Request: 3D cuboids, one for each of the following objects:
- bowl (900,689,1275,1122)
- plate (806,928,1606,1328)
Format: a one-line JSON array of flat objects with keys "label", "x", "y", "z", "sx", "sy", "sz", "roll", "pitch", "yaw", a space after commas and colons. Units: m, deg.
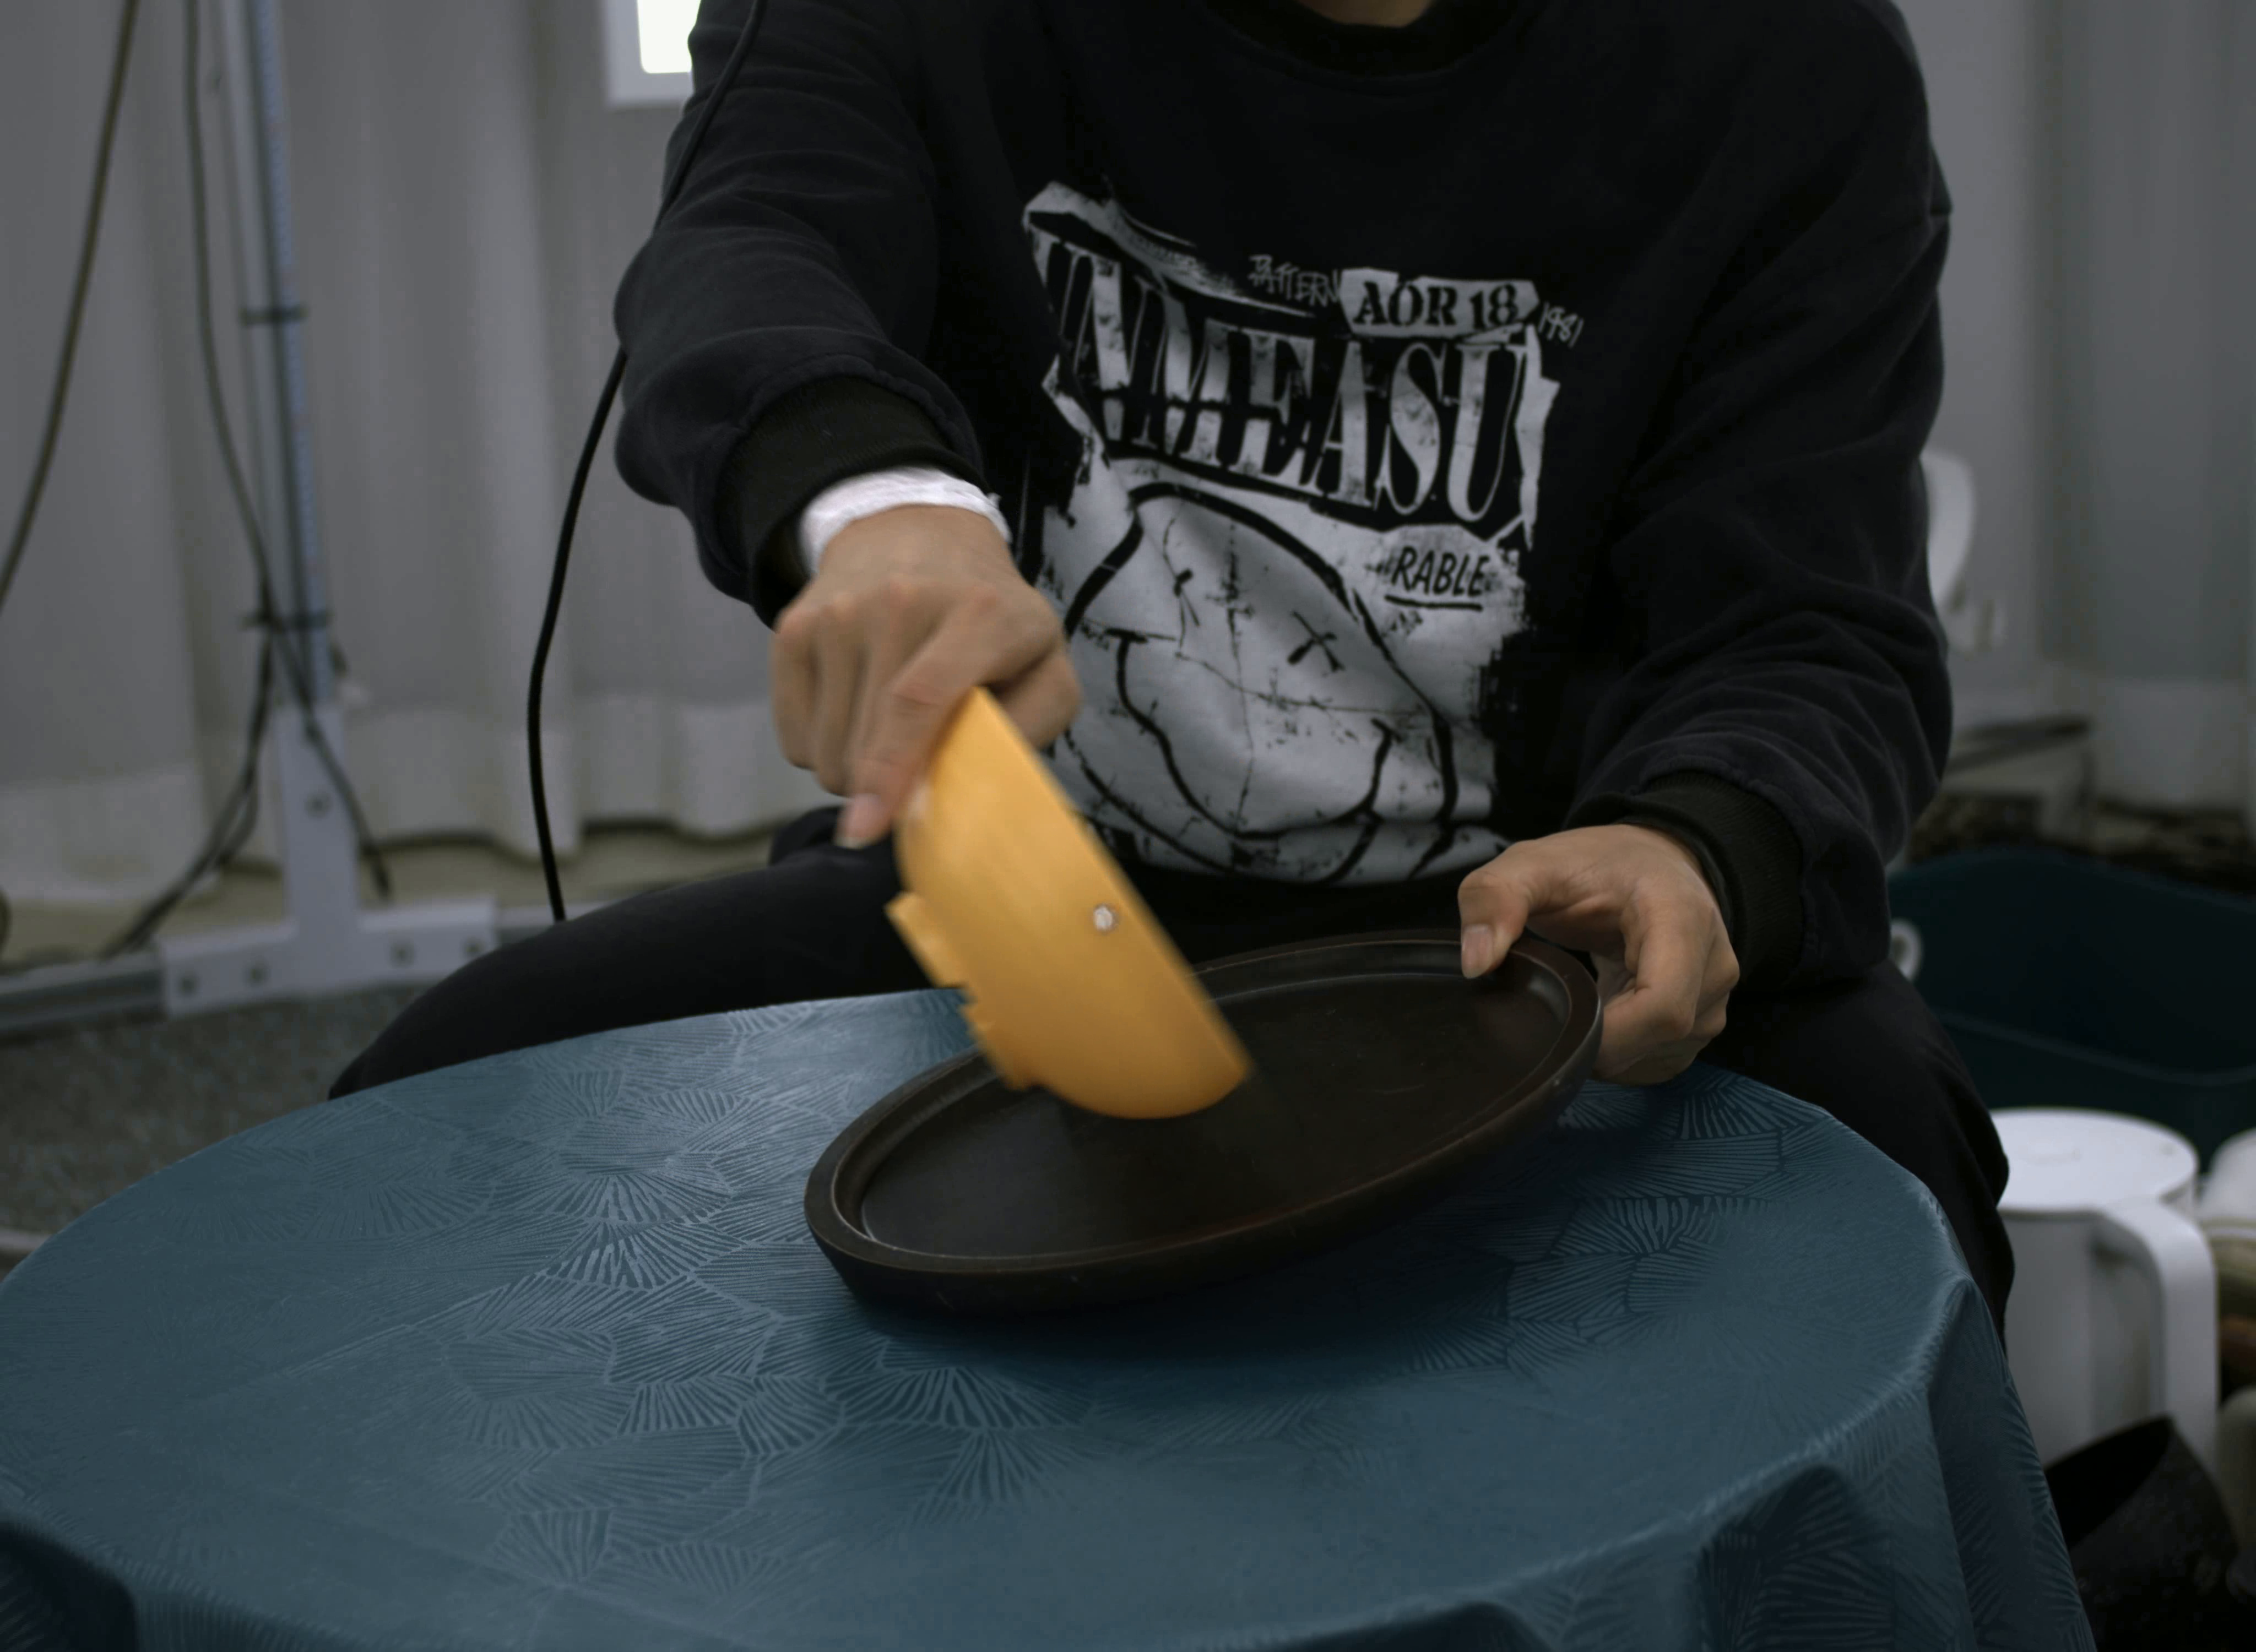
[{"label": "bowl", "x": -0.023, "y": 0.035, "z": 1.577, "sx": 0.060, "sy": 0.144, "sz": 0.146, "roll": -37, "pitch": 21, "yaw": -6}, {"label": "plate", "x": 0.025, "y": 0.090, "z": 1.667, "sx": 0.254, "sy": 0.029, "sz": 0.256, "roll": -16, "pitch": 15, "yaw": 4}]
